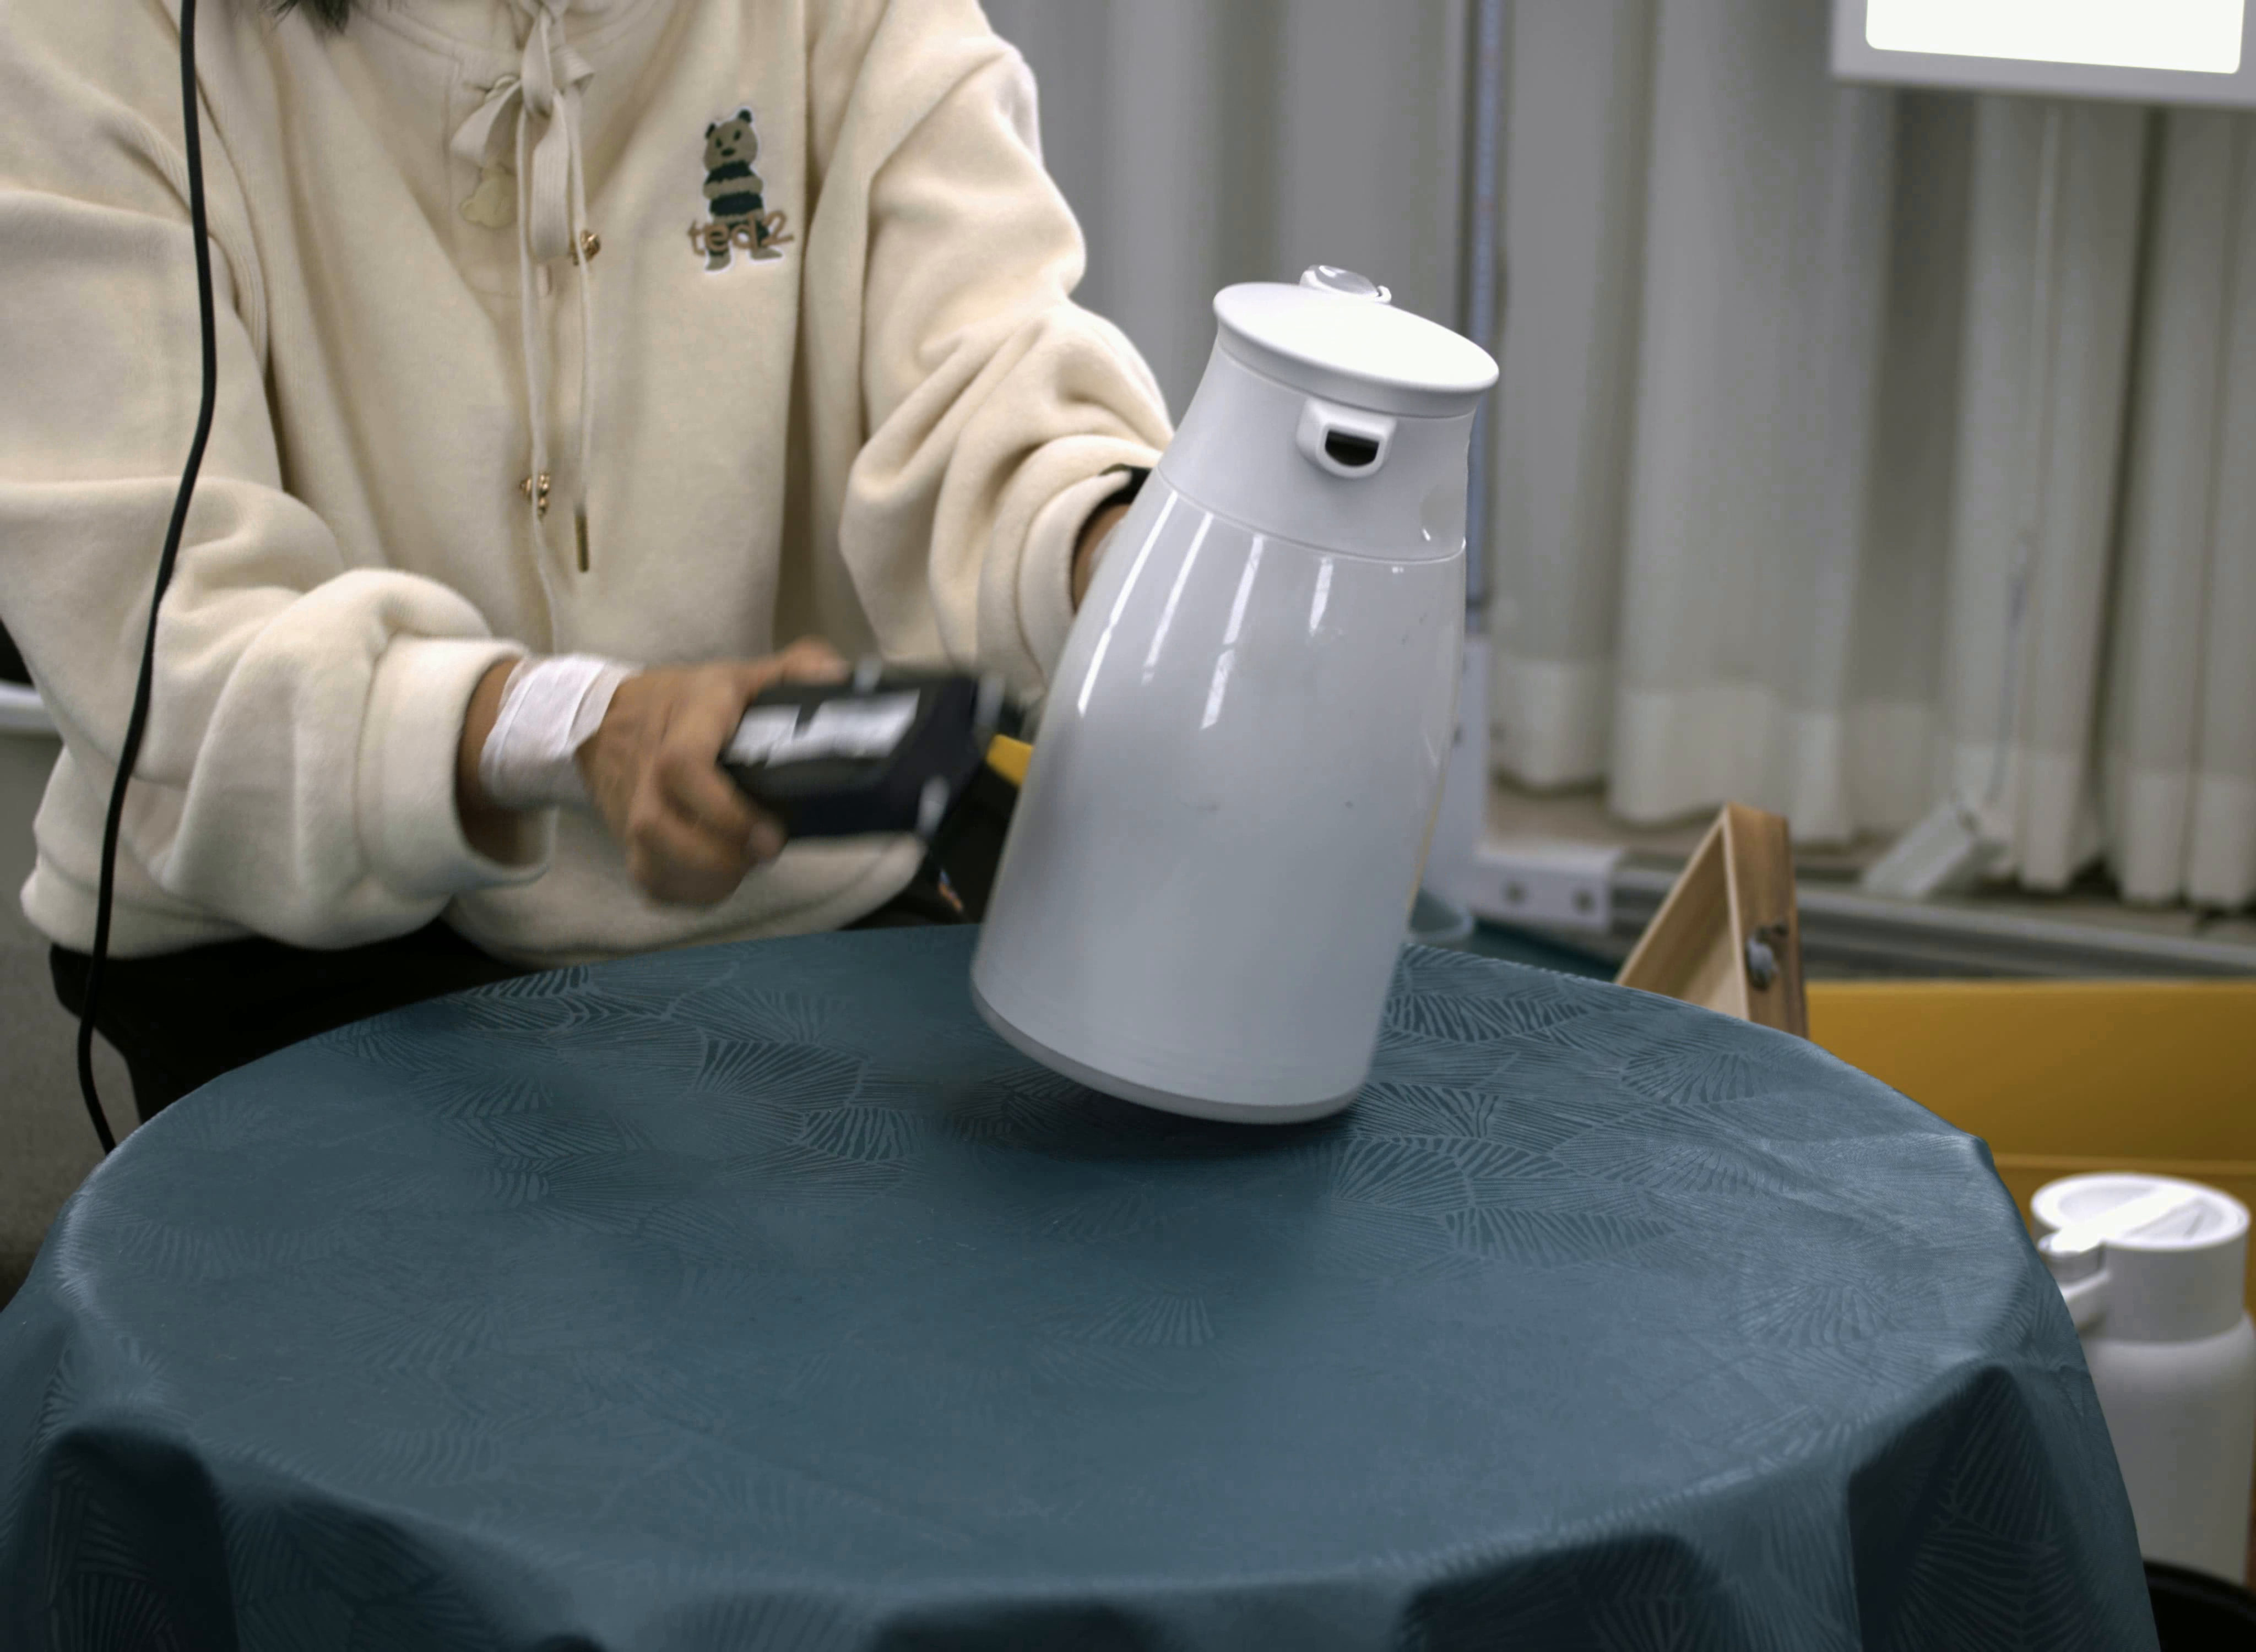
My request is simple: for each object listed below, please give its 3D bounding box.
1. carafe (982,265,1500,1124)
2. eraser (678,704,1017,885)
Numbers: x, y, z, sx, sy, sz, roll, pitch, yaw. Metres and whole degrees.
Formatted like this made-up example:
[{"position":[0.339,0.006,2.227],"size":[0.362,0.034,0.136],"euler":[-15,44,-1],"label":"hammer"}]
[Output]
[{"position":[0.042,-0.052,1.674],"size":[0.132,0.250,0.166],"euler":[11,20,-7],"label":"carafe"},{"position":[-0.087,-0.009,1.621],"size":[0.124,0.031,0.053],"euler":[-3,45,55],"label":"eraser"}]
